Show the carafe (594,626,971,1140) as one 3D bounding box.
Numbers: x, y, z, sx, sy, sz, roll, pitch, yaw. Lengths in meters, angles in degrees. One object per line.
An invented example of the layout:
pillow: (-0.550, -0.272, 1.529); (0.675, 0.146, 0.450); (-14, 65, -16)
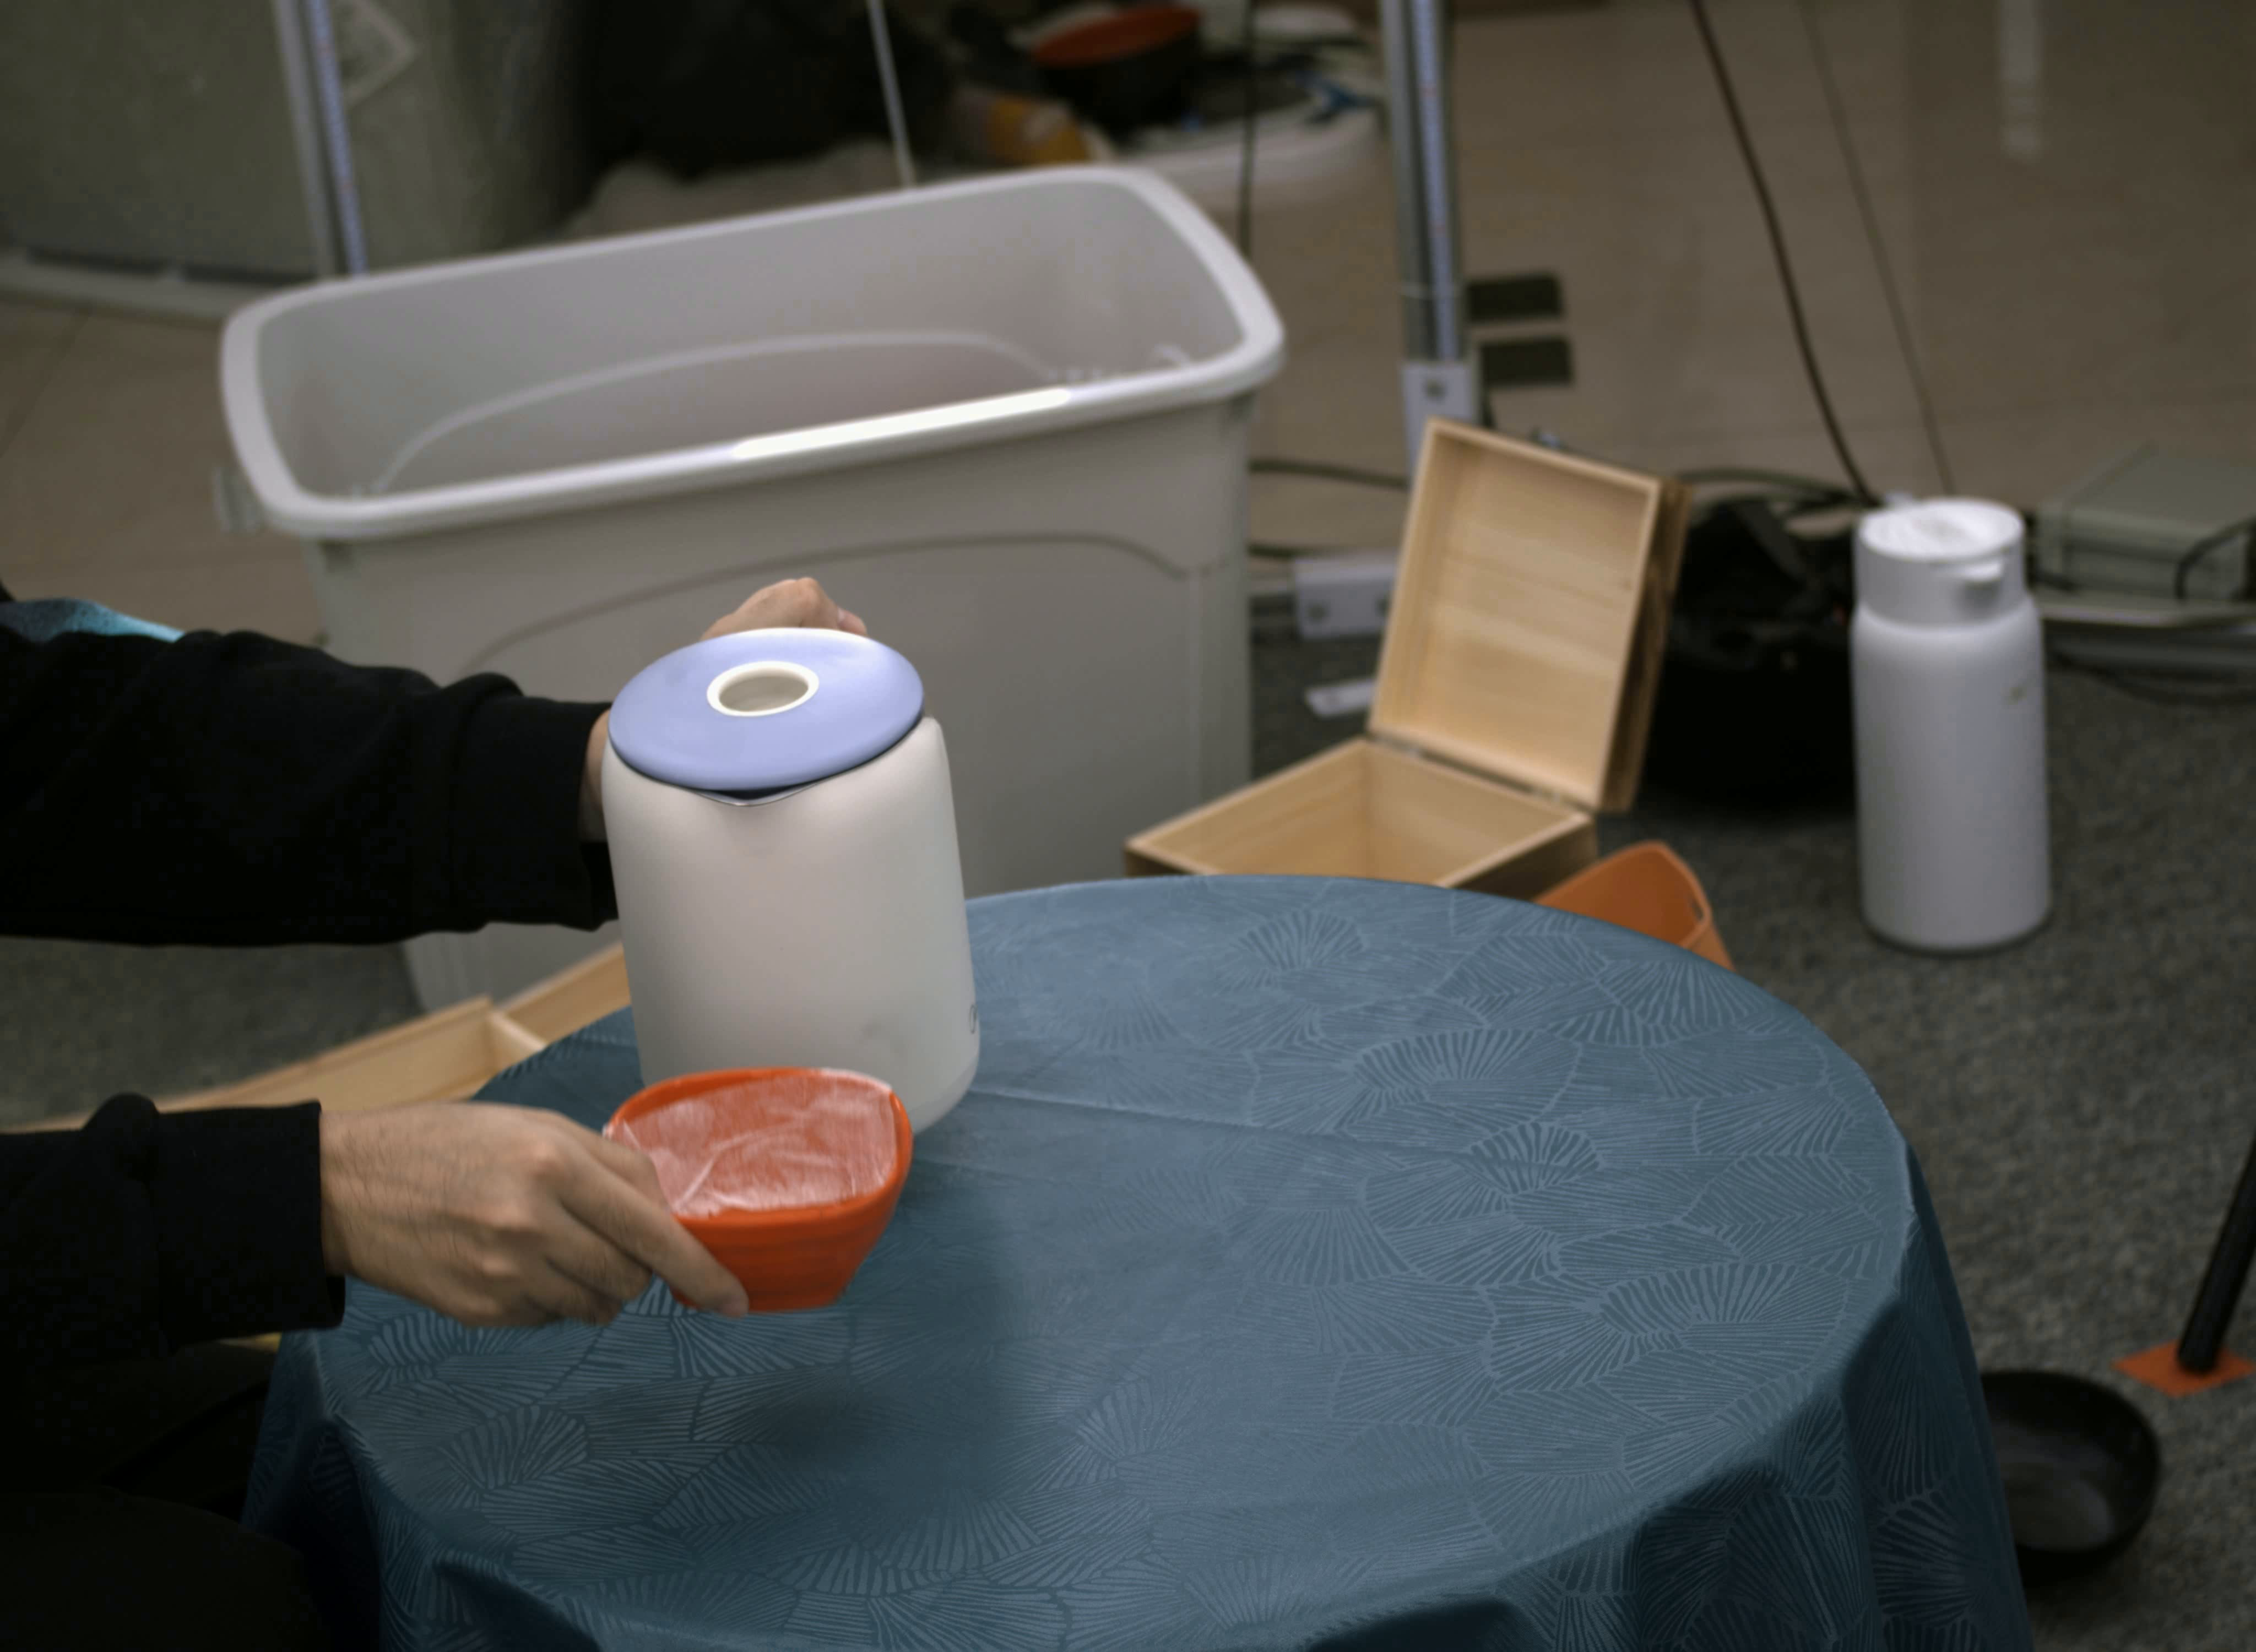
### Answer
carafe: (-0.130, 0.015, 2.160); (0.132, 0.185, 0.188); (-3, 28, 2)

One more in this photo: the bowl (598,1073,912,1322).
bowl: (-0.131, 0.135, 1.997); (0.119, 0.052, 0.117); (0, 28, 0)
